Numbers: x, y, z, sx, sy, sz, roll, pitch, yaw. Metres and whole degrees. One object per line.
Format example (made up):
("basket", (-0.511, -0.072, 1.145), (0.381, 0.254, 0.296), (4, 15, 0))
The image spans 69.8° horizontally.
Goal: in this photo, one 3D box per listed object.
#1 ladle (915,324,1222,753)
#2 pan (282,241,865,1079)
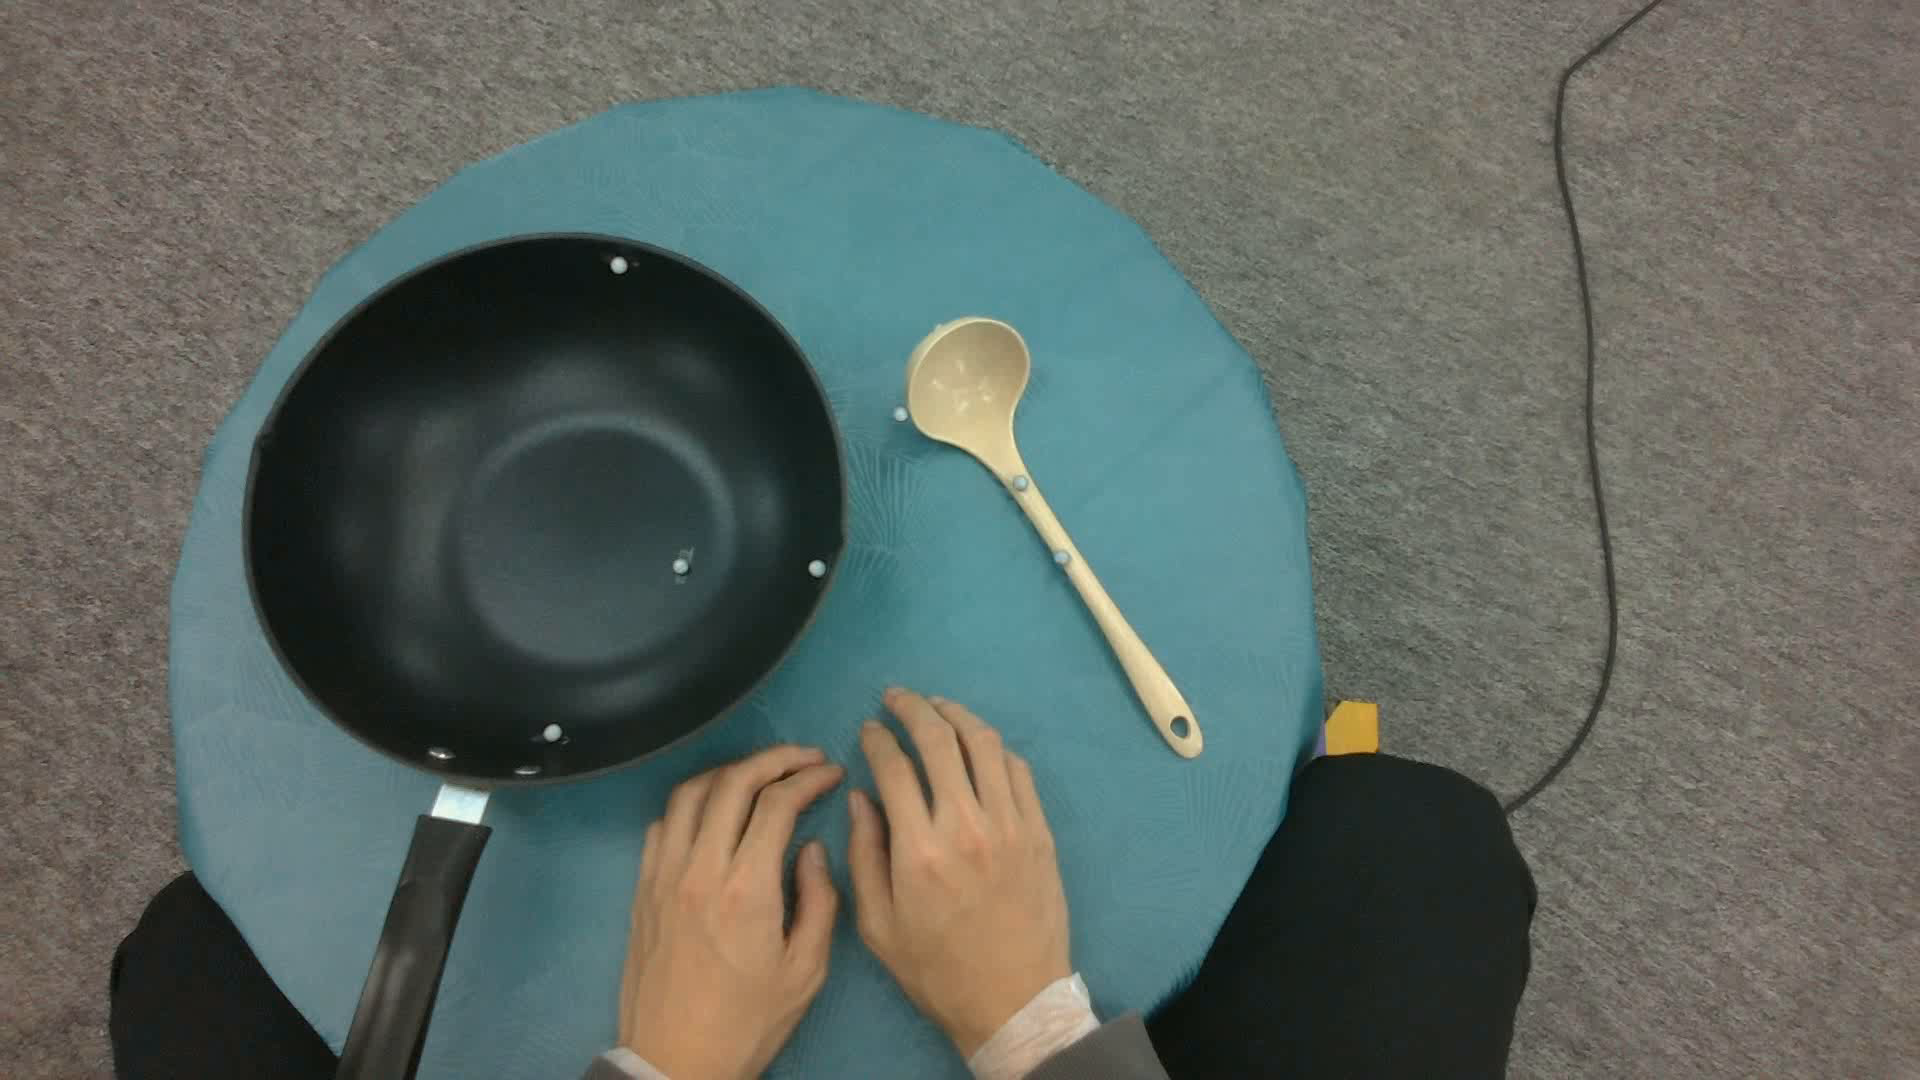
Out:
("ladle", (0.065, -0.004, 0.714), (0.072, 0.072, 0.255), (-31, 74, -16))
("pan", (-0.207, 0.076, 0.679), (0.288, 0.086, 0.464), (11, 73, 3))
